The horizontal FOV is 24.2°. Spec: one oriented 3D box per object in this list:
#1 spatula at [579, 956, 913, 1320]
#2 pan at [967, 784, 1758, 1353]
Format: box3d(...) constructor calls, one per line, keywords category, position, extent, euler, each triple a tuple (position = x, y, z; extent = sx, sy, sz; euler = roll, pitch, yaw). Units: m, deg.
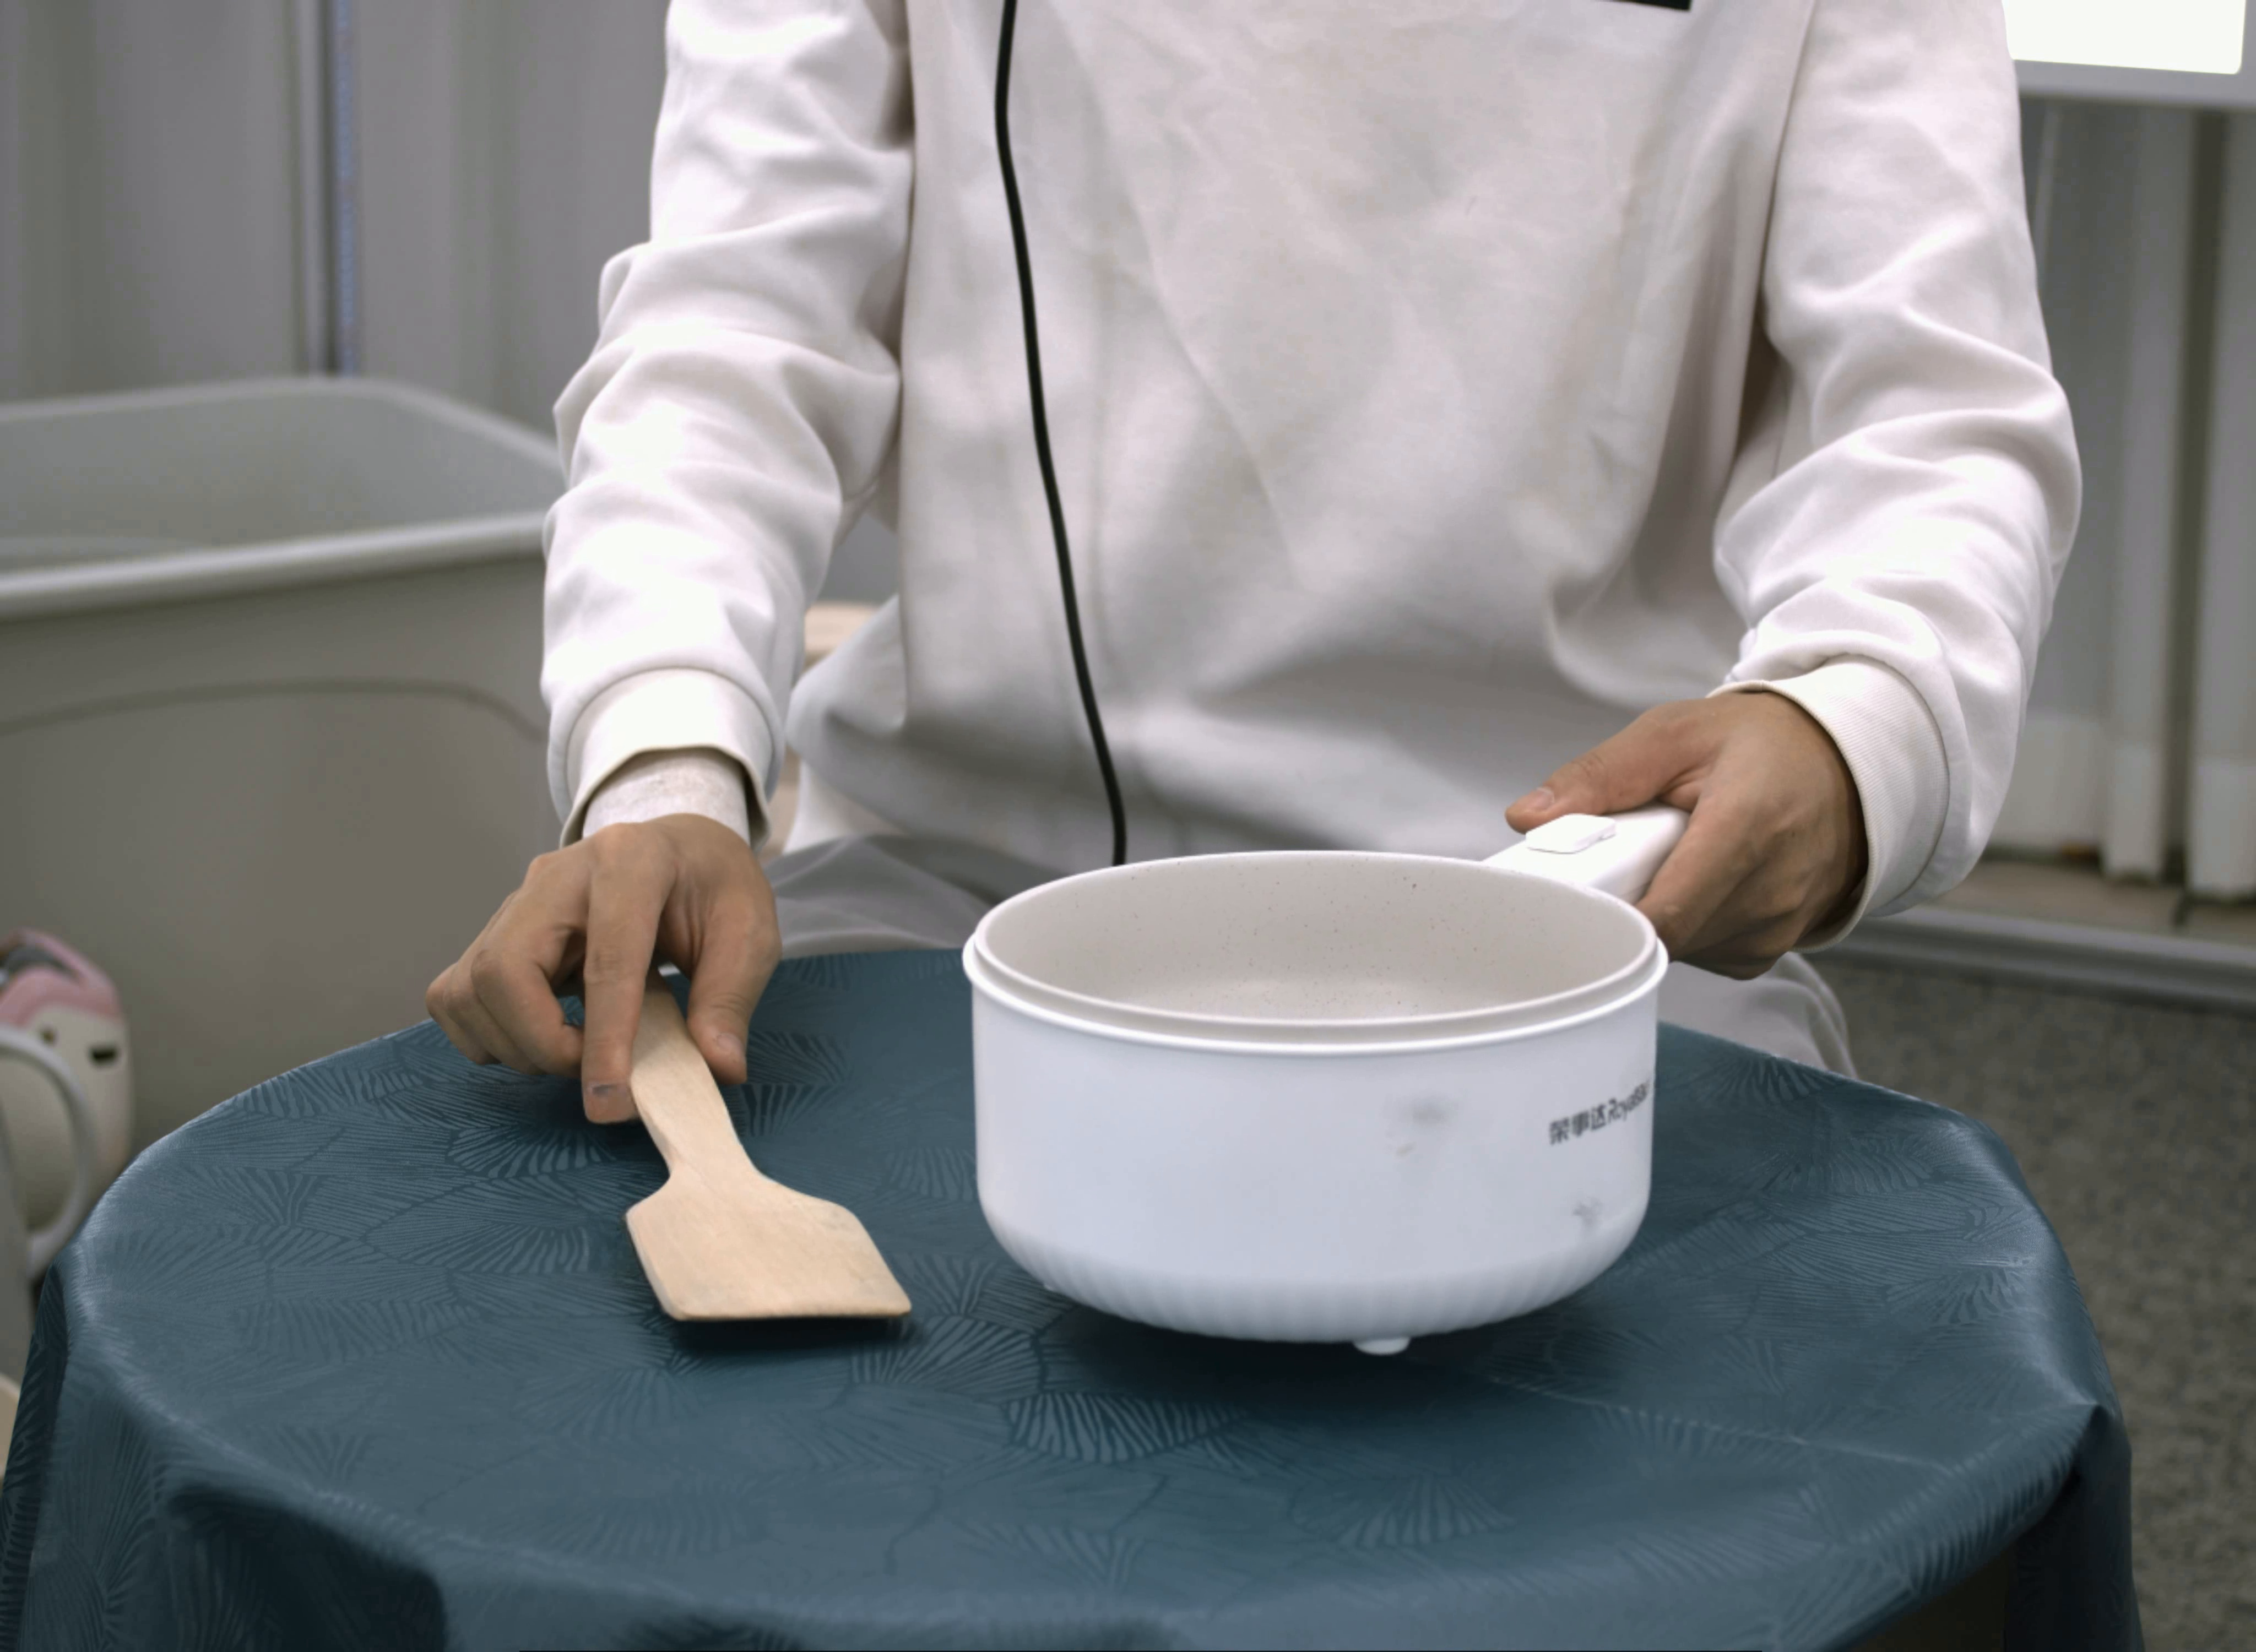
box3d(category="spatula", position=(-0.133, 0.093, 1.623), extent=(0.072, 0.011, 0.290), euler=(0, 19, -17))
box3d(category="pan", position=(0.094, 0.065, 1.575), extent=(0.199, 0.103, 0.356), euler=(7, 14, 30))
